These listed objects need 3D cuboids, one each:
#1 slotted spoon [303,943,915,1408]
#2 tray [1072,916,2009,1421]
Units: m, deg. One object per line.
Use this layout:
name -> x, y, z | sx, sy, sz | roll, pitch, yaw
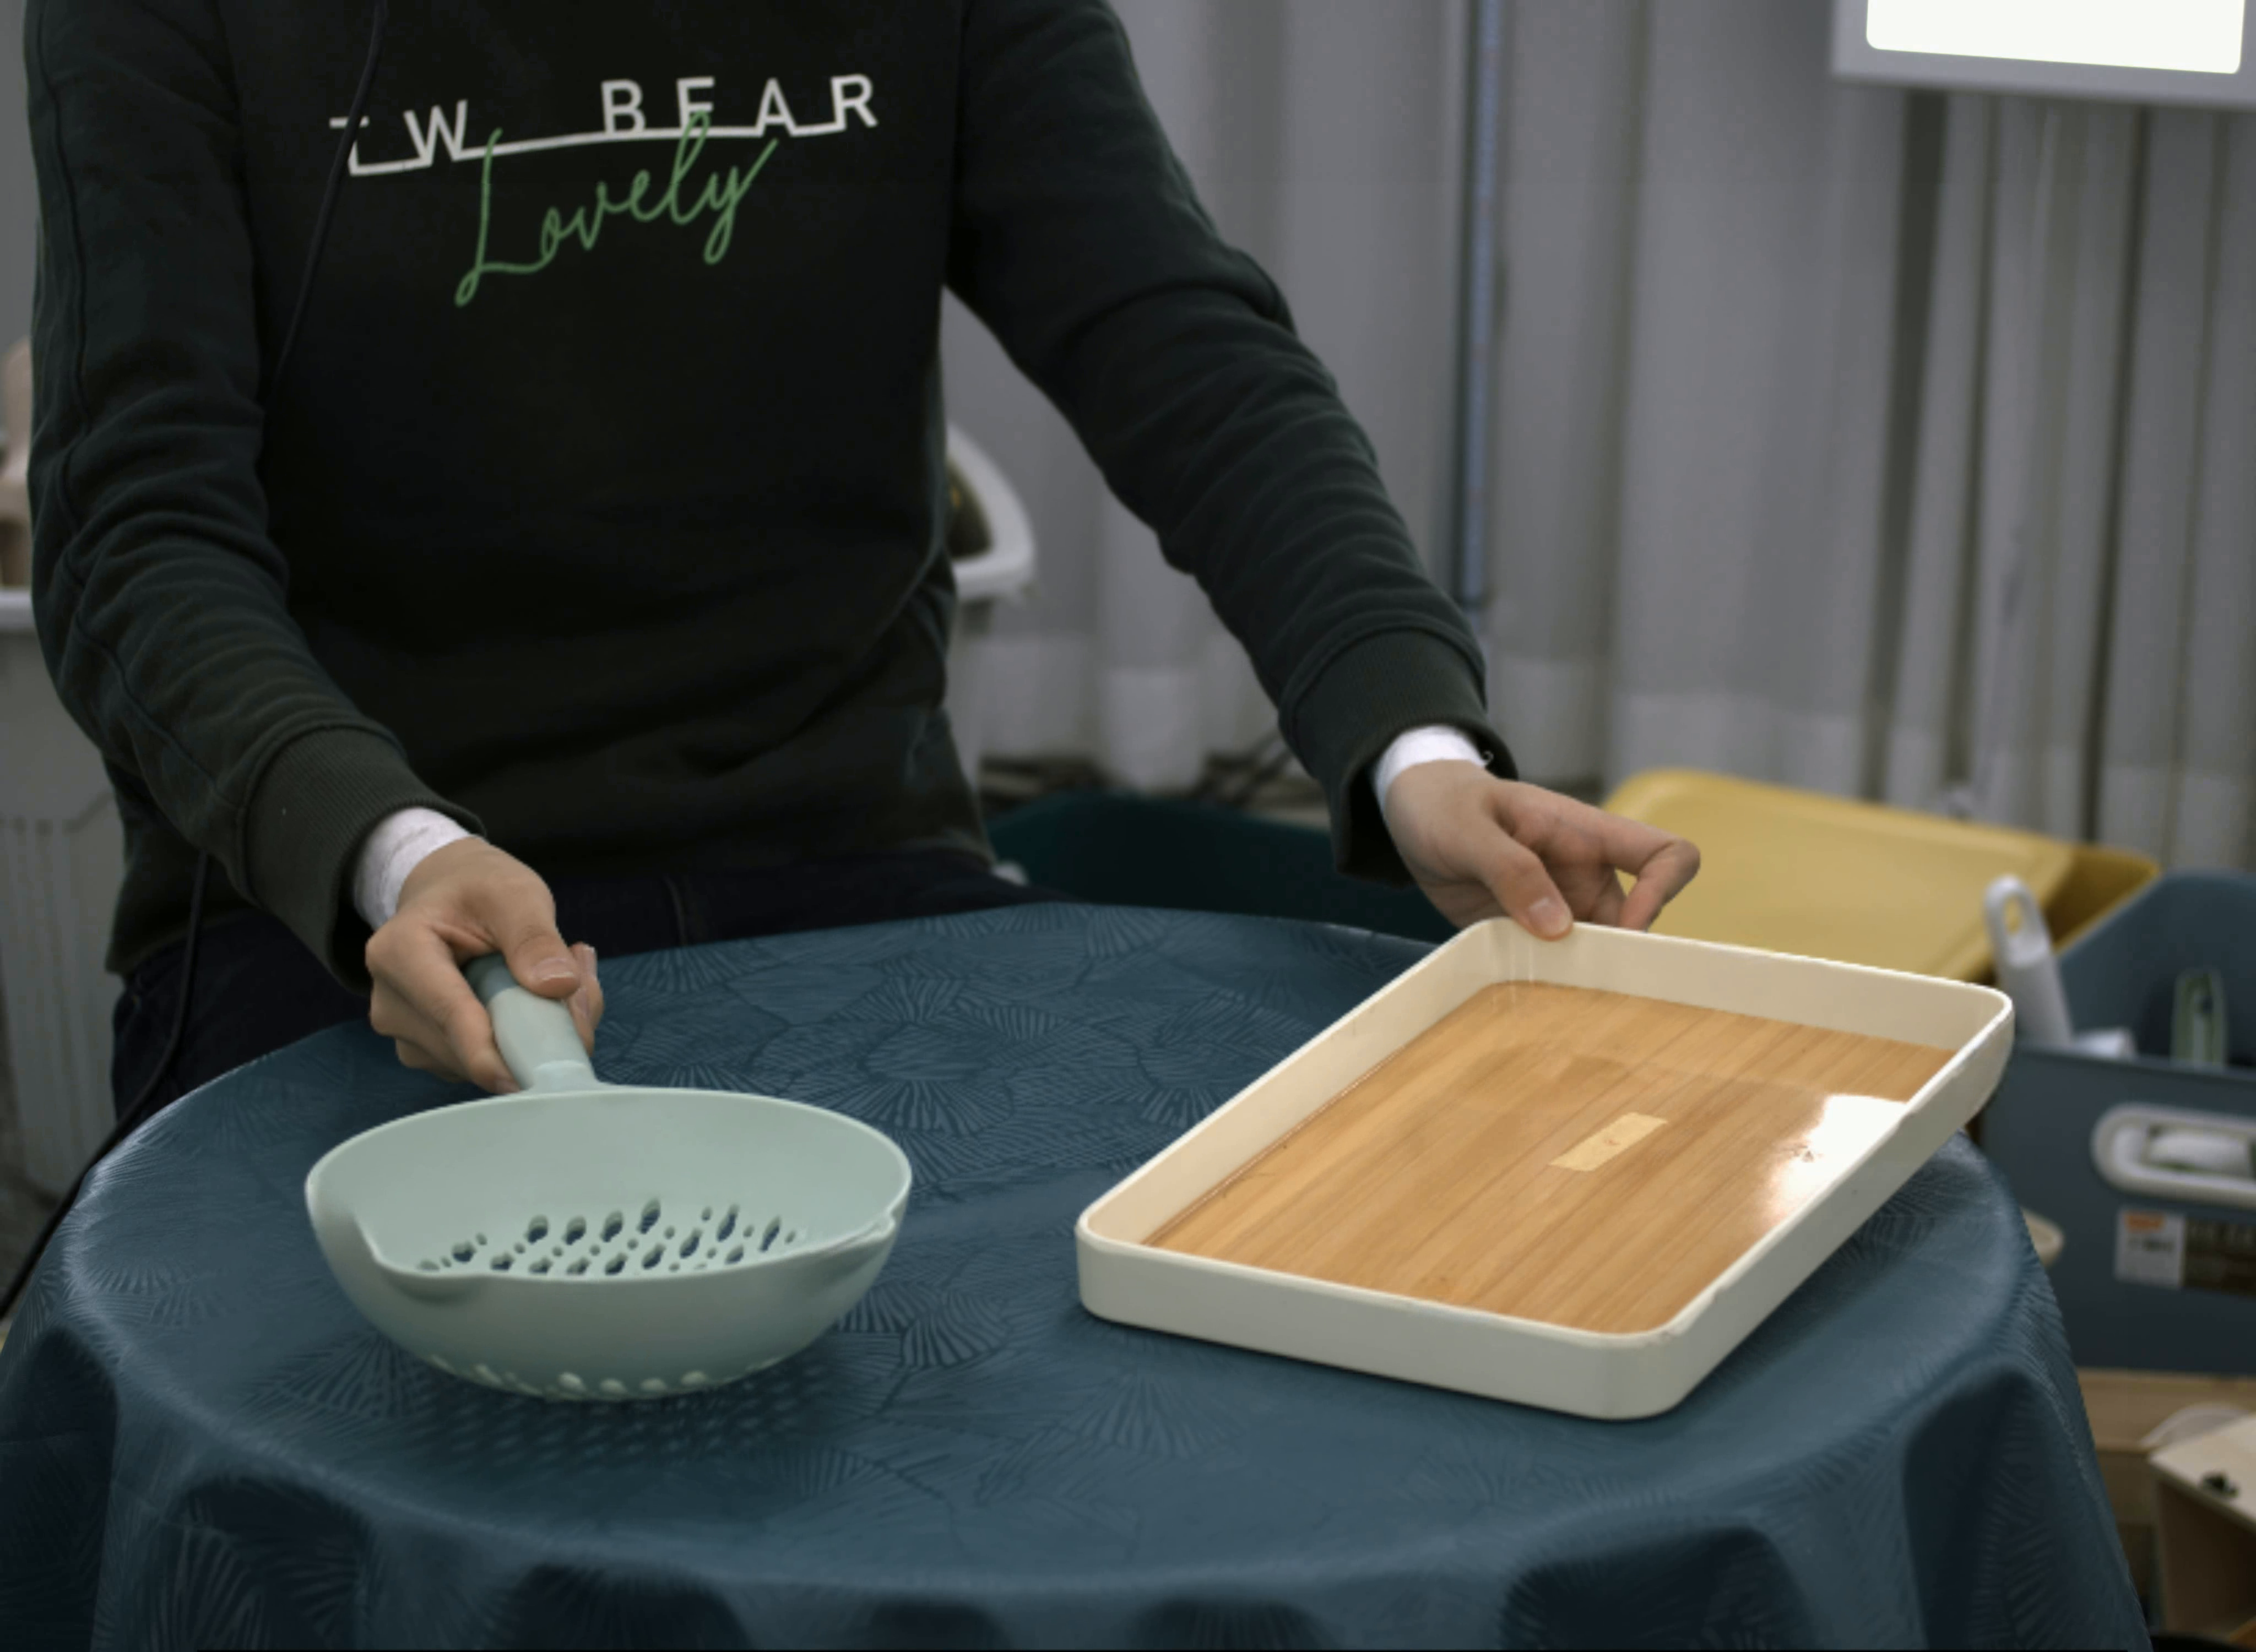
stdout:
slotted spoon -> -0.165, 0.086, 1.555 | 0.169, 0.076, 0.355 | -2, 23, -13
tray -> 0.132, 0.097, 1.600 | 0.189, 0.027, 0.301 | 9, 22, 27
